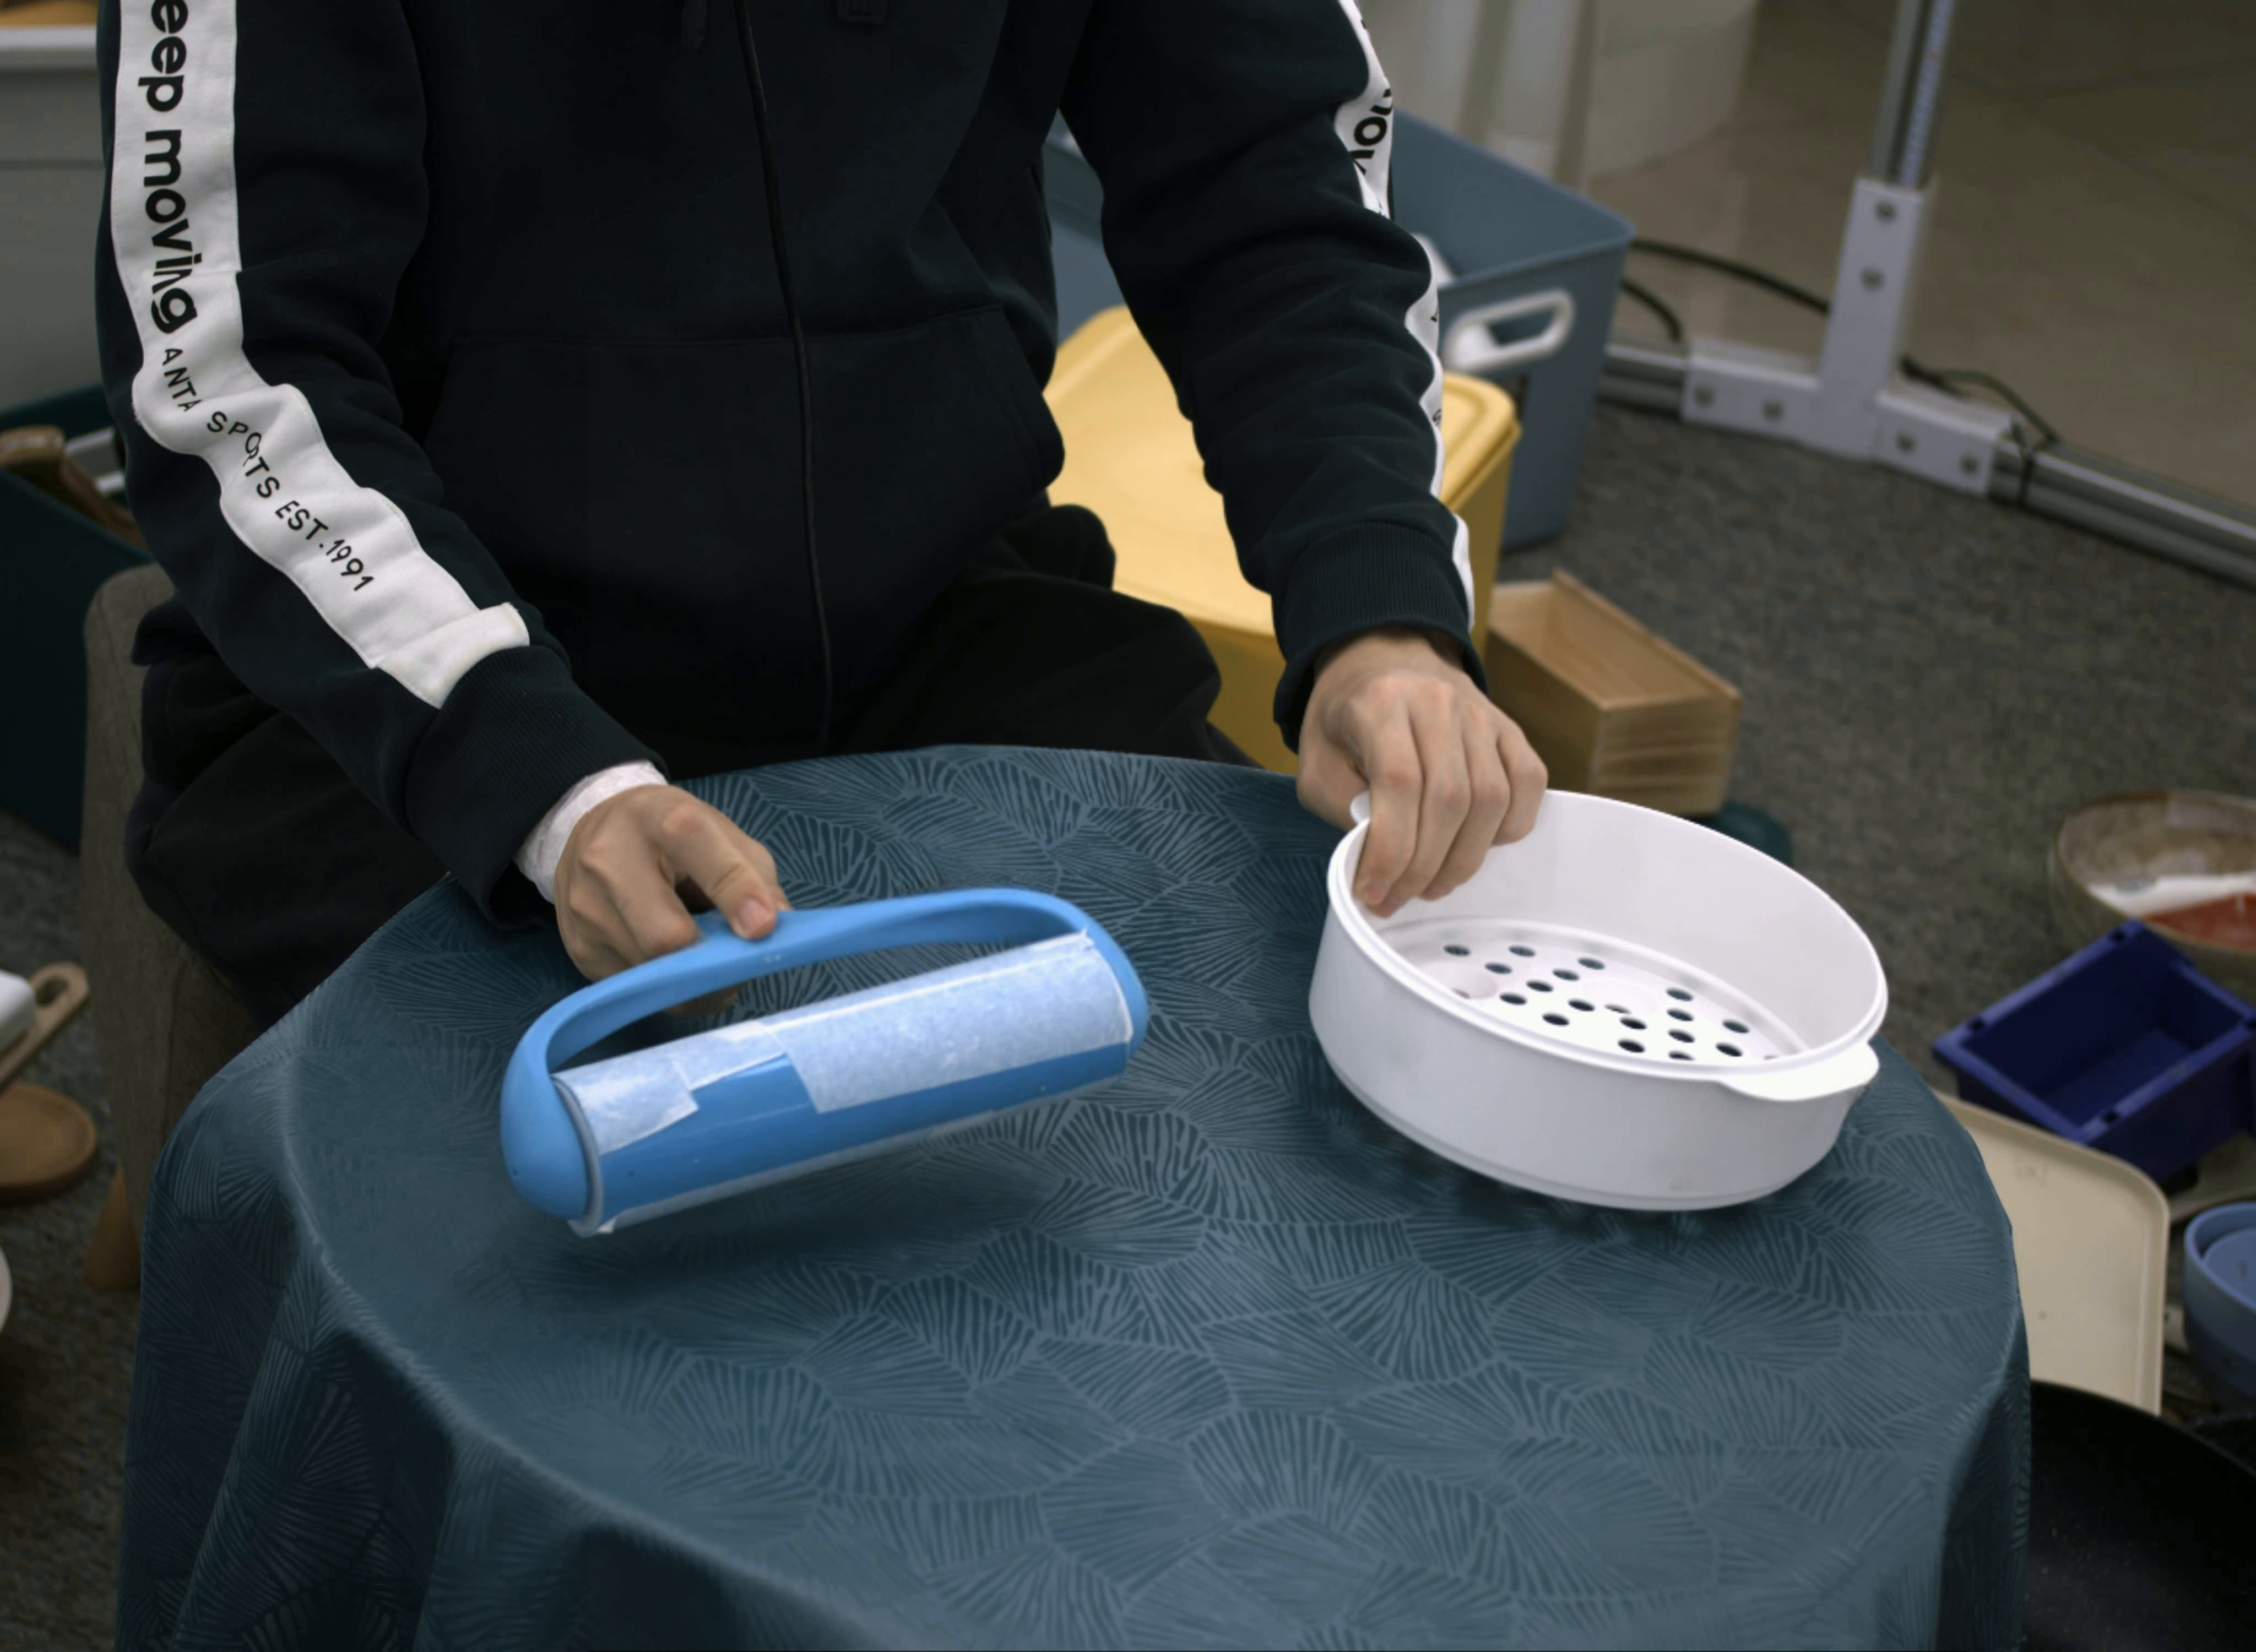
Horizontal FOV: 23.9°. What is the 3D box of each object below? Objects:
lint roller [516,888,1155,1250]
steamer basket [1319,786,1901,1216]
[{"bbox_3d":[-0.124,0.063,1.778,0.228,0.067,0.182,-19,30,-28],"label":"lint roller"},{"bbox_3d":[0.166,0.063,1.864,0.200,0.069,0.232,-9,33,-39],"label":"steamer basket"}]
